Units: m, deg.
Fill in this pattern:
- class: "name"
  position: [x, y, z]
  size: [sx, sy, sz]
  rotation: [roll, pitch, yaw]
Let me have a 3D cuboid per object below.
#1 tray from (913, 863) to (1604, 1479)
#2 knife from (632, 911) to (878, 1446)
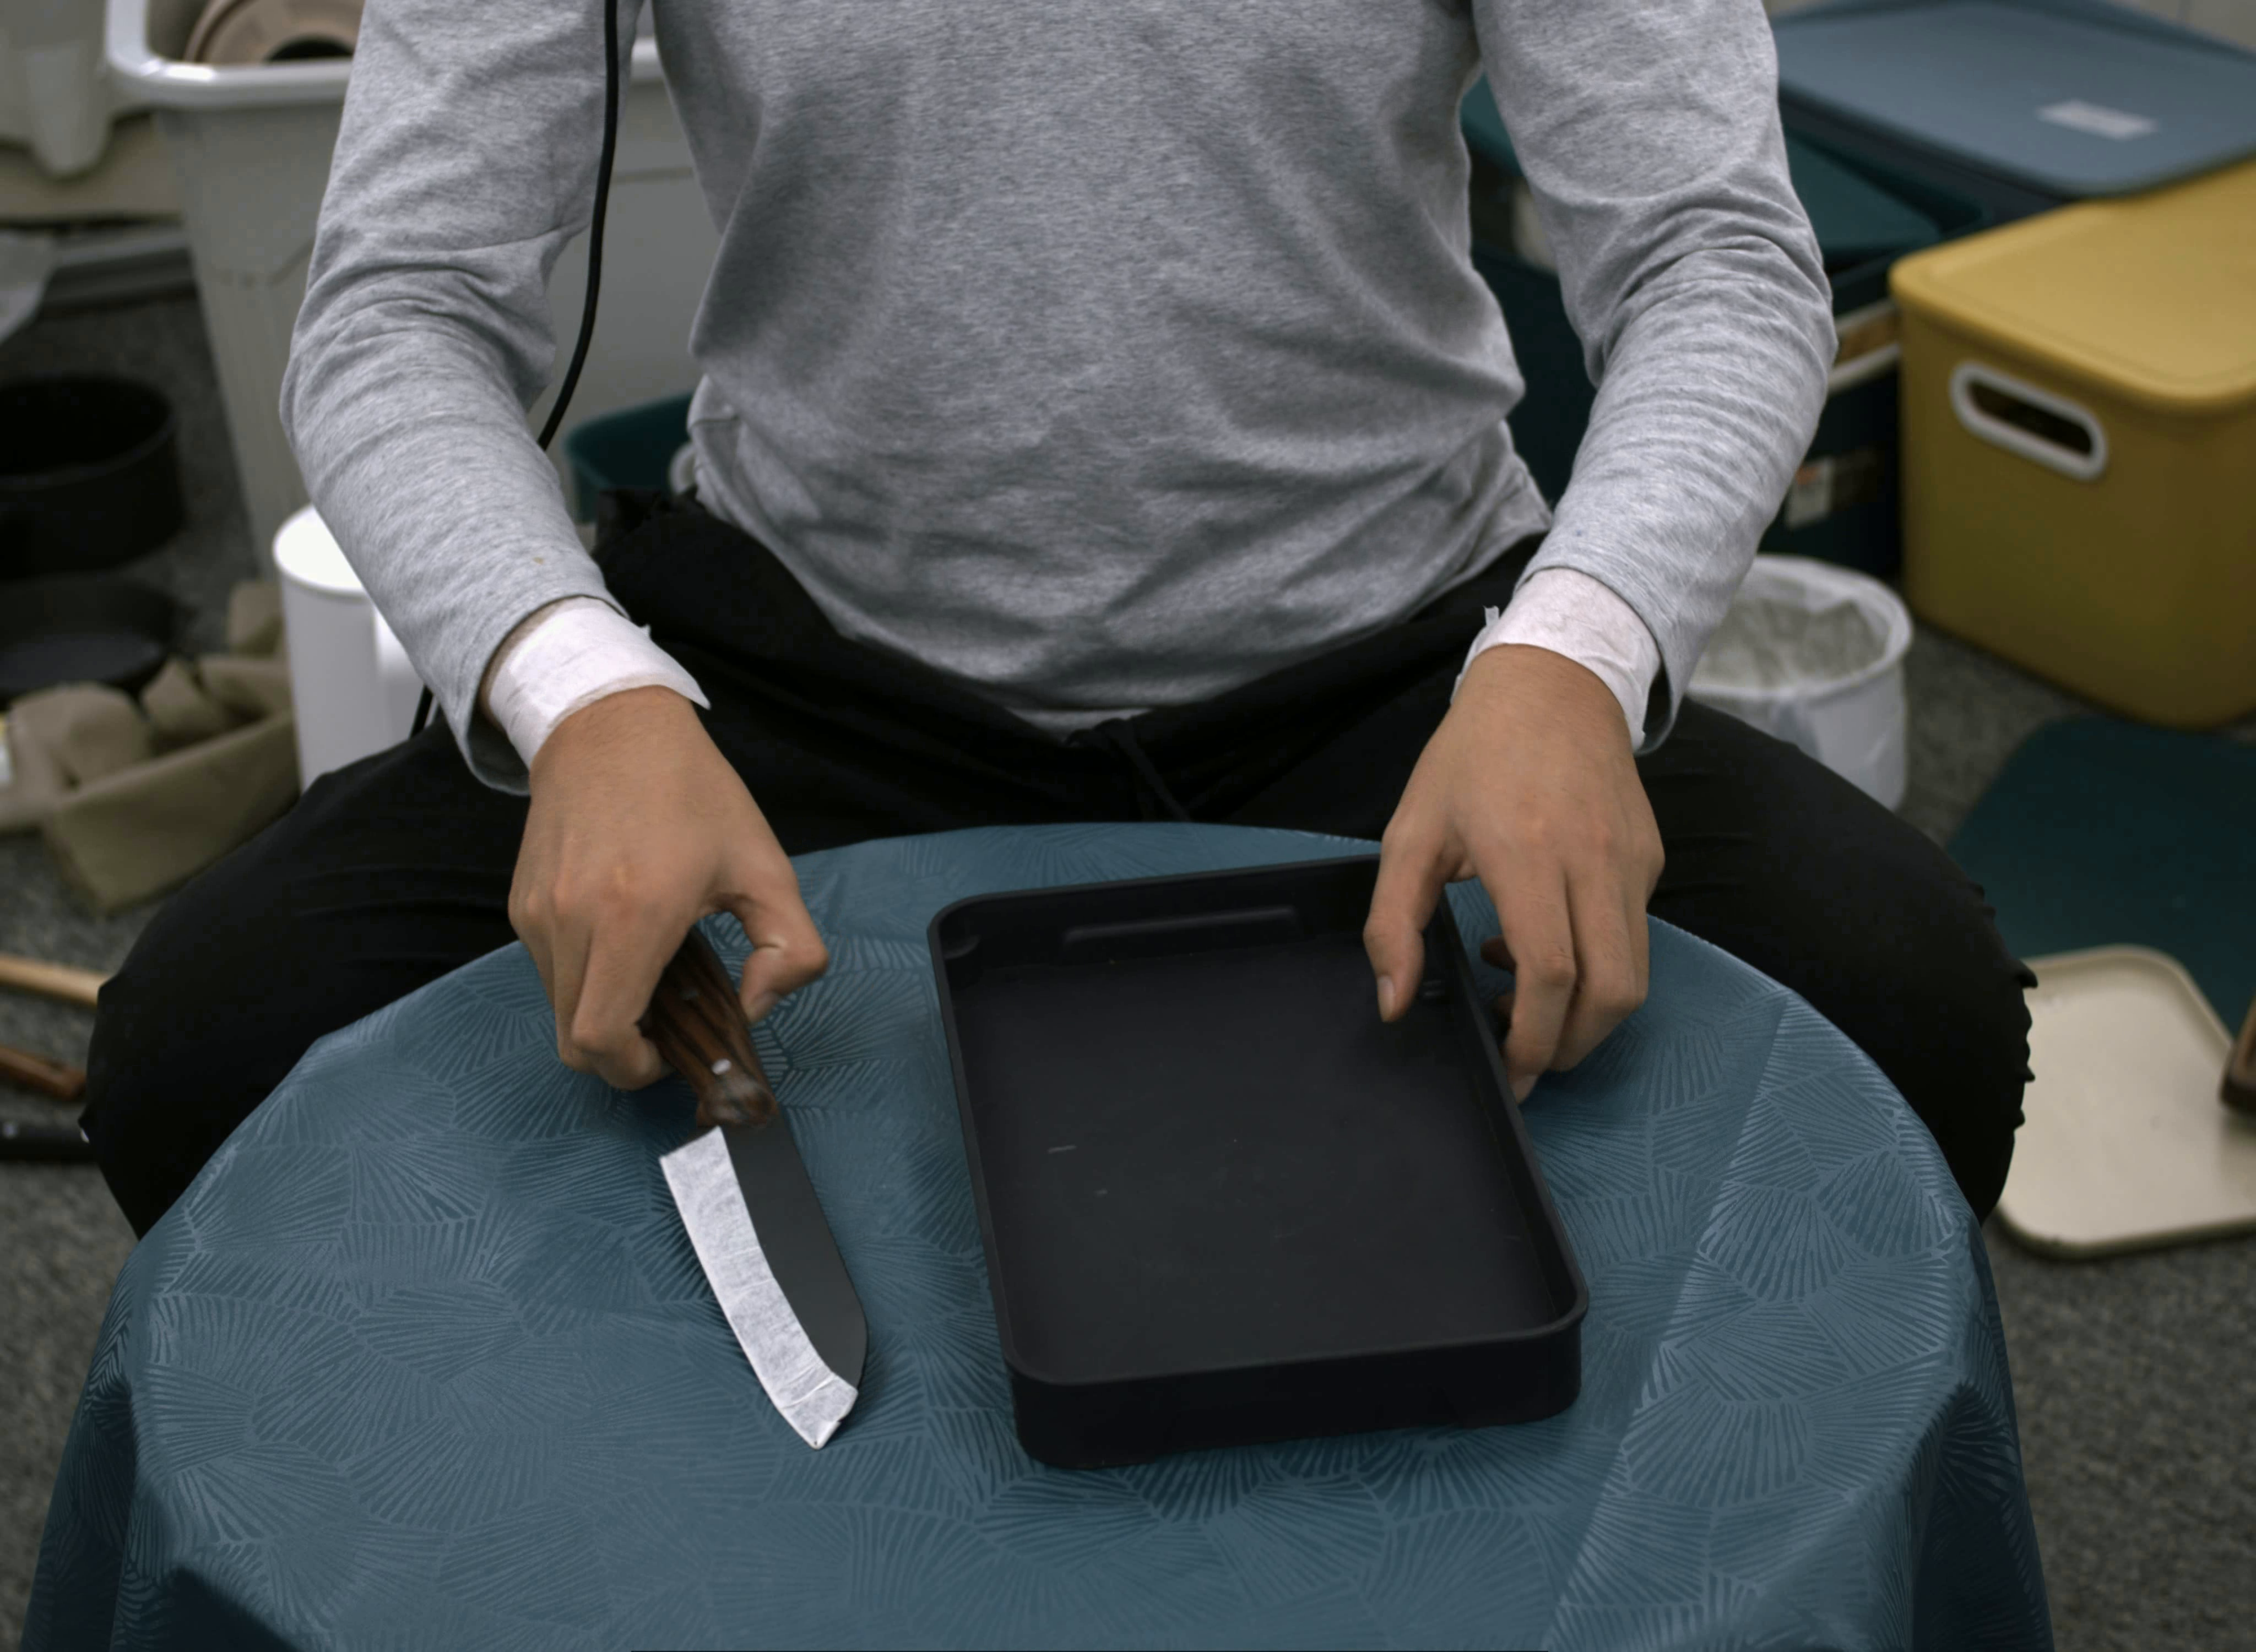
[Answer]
- class: "tray"
  position: [0.037, 0.107, 1.849]
  size: [0.184, 0.036, 0.322]
  rotation: [-6, 27, -7]
- class: "knife"
  position: [-0.126, 0.114, 1.851]
  size: [0.050, 0.020, 0.293]
  rotation: [-27, 35, 2]
